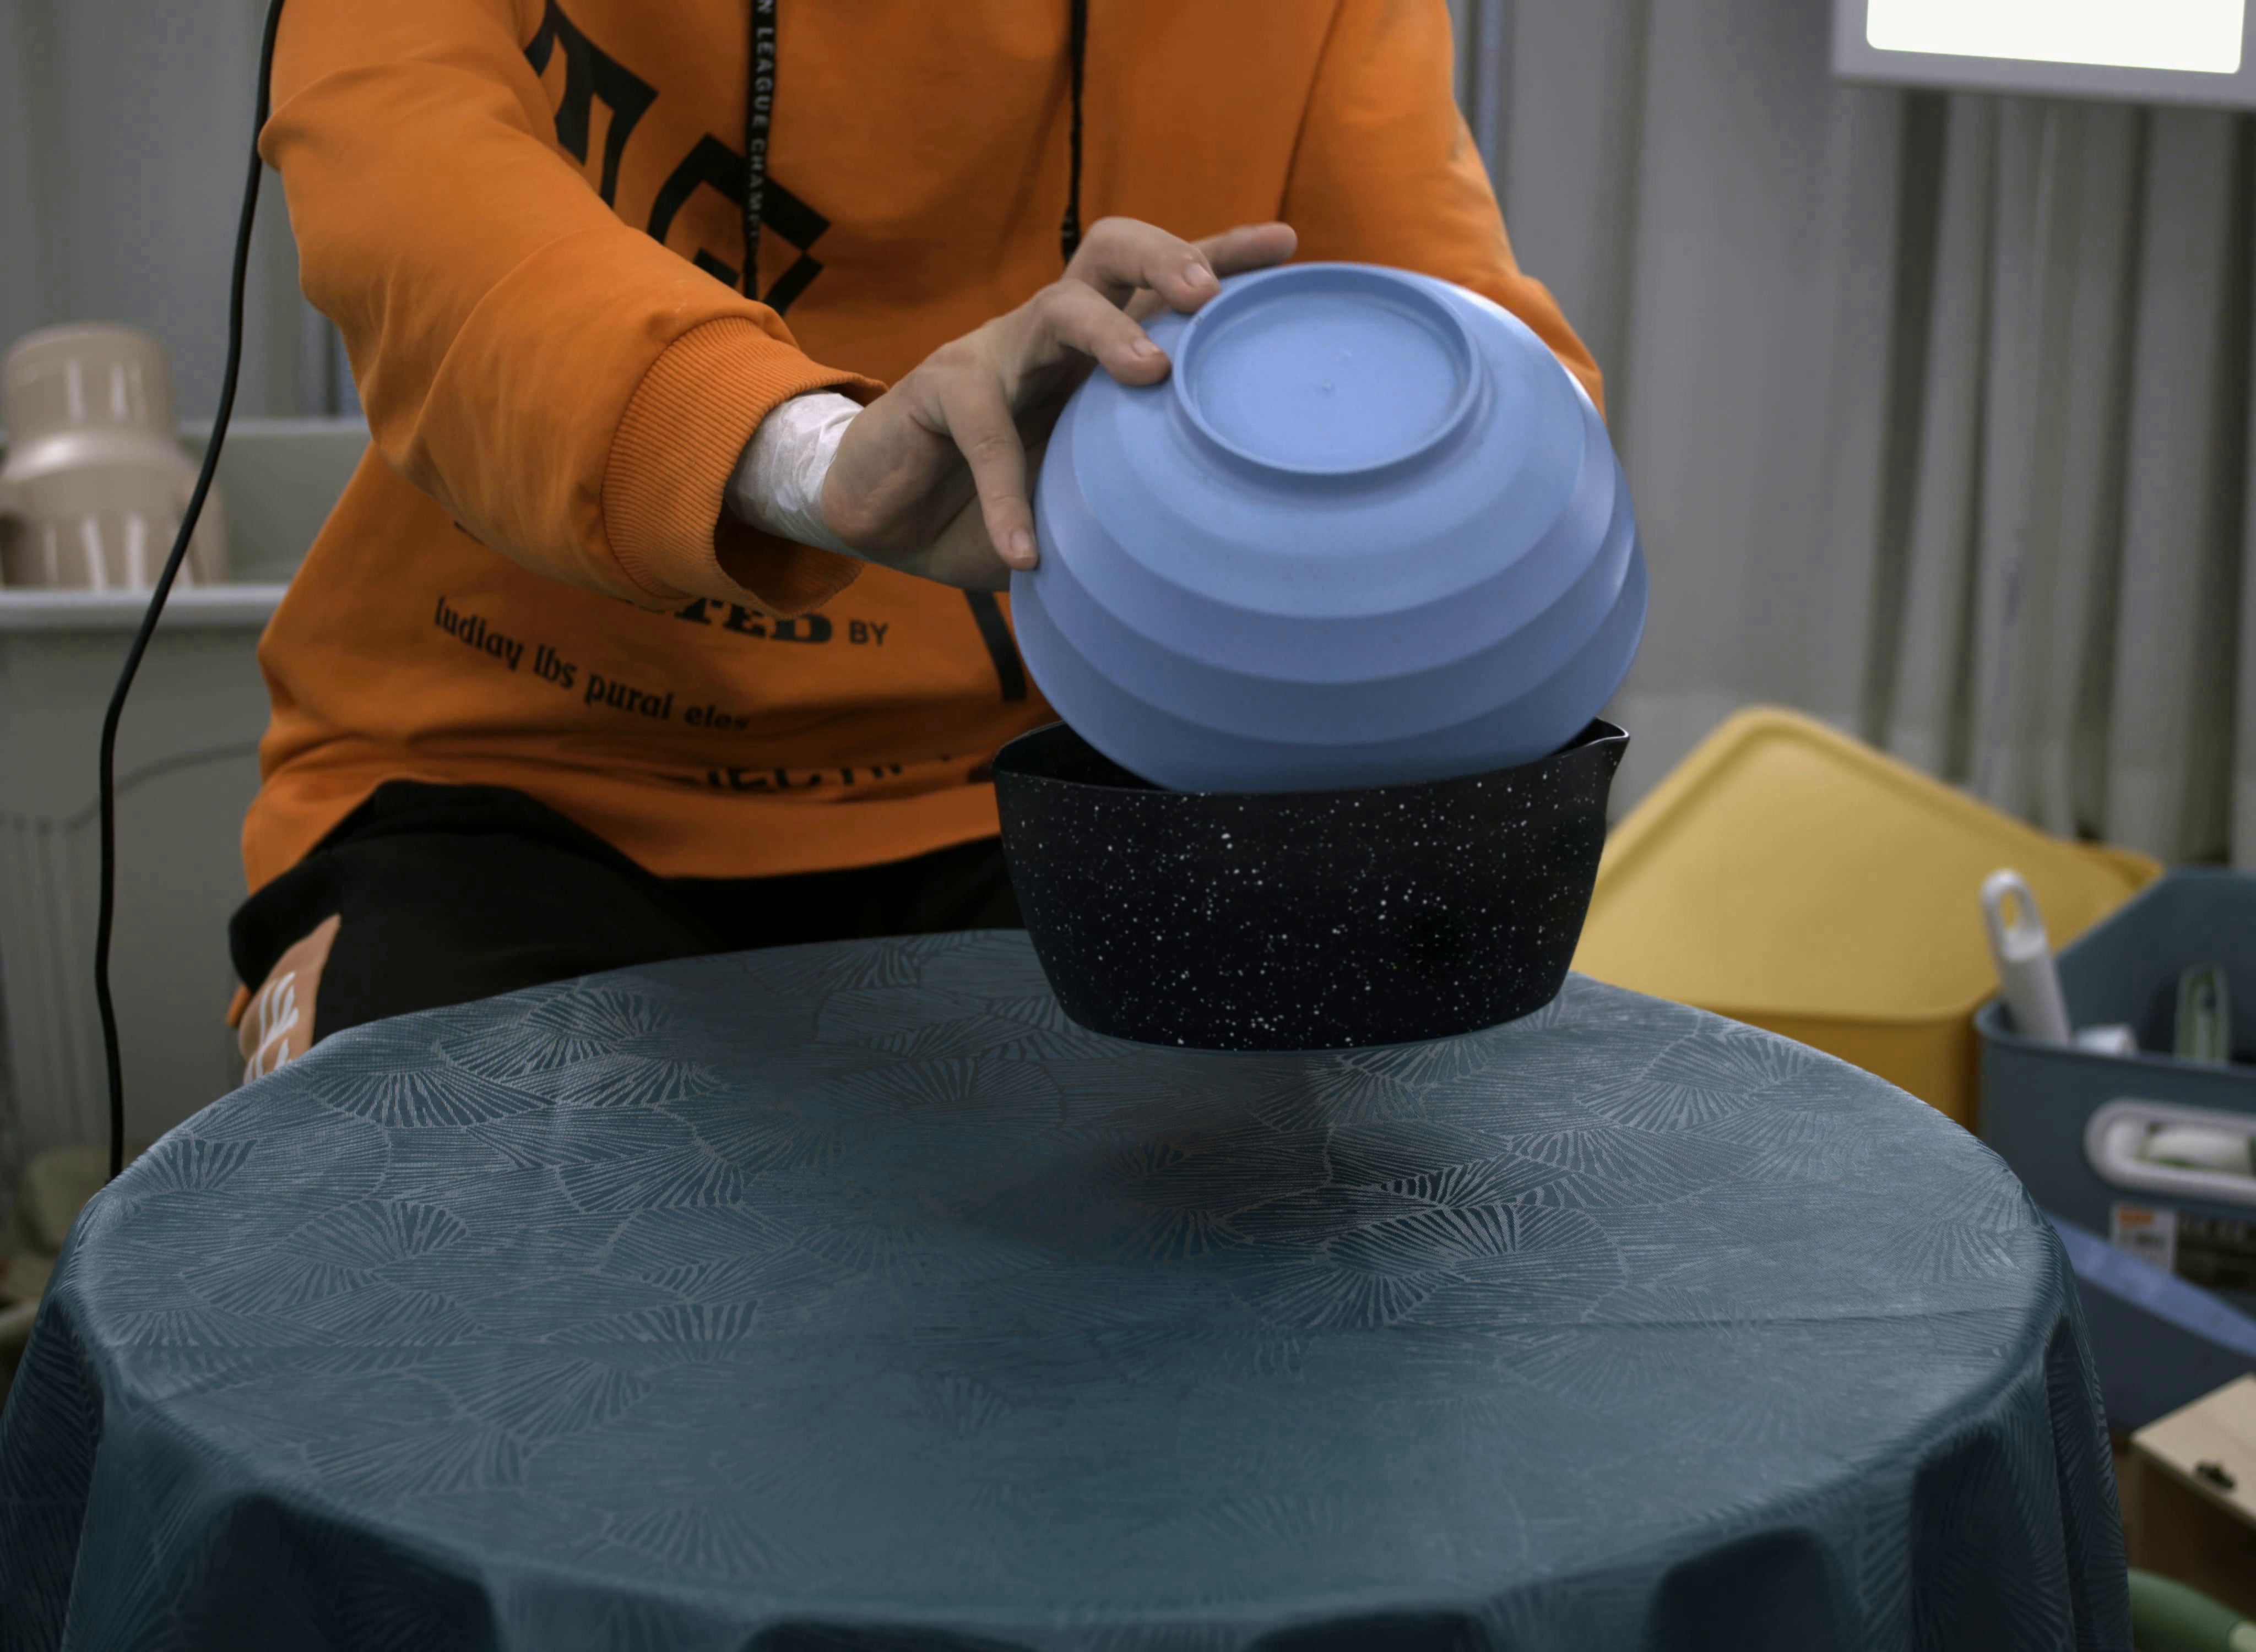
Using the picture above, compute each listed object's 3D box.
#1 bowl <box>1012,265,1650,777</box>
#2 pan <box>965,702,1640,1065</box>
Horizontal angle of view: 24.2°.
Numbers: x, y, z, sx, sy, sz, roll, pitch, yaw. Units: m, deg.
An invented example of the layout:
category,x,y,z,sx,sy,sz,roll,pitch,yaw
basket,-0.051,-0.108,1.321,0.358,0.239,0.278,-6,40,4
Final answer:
category,x,y,z,sx,sy,sz,roll,pitch,yaw
bowl,0.061,-0.103,1.582,0.196,0.096,0.195,0,48,1
pan,0.059,-0.012,1.677,0.206,0.109,0.342,-2,12,5
